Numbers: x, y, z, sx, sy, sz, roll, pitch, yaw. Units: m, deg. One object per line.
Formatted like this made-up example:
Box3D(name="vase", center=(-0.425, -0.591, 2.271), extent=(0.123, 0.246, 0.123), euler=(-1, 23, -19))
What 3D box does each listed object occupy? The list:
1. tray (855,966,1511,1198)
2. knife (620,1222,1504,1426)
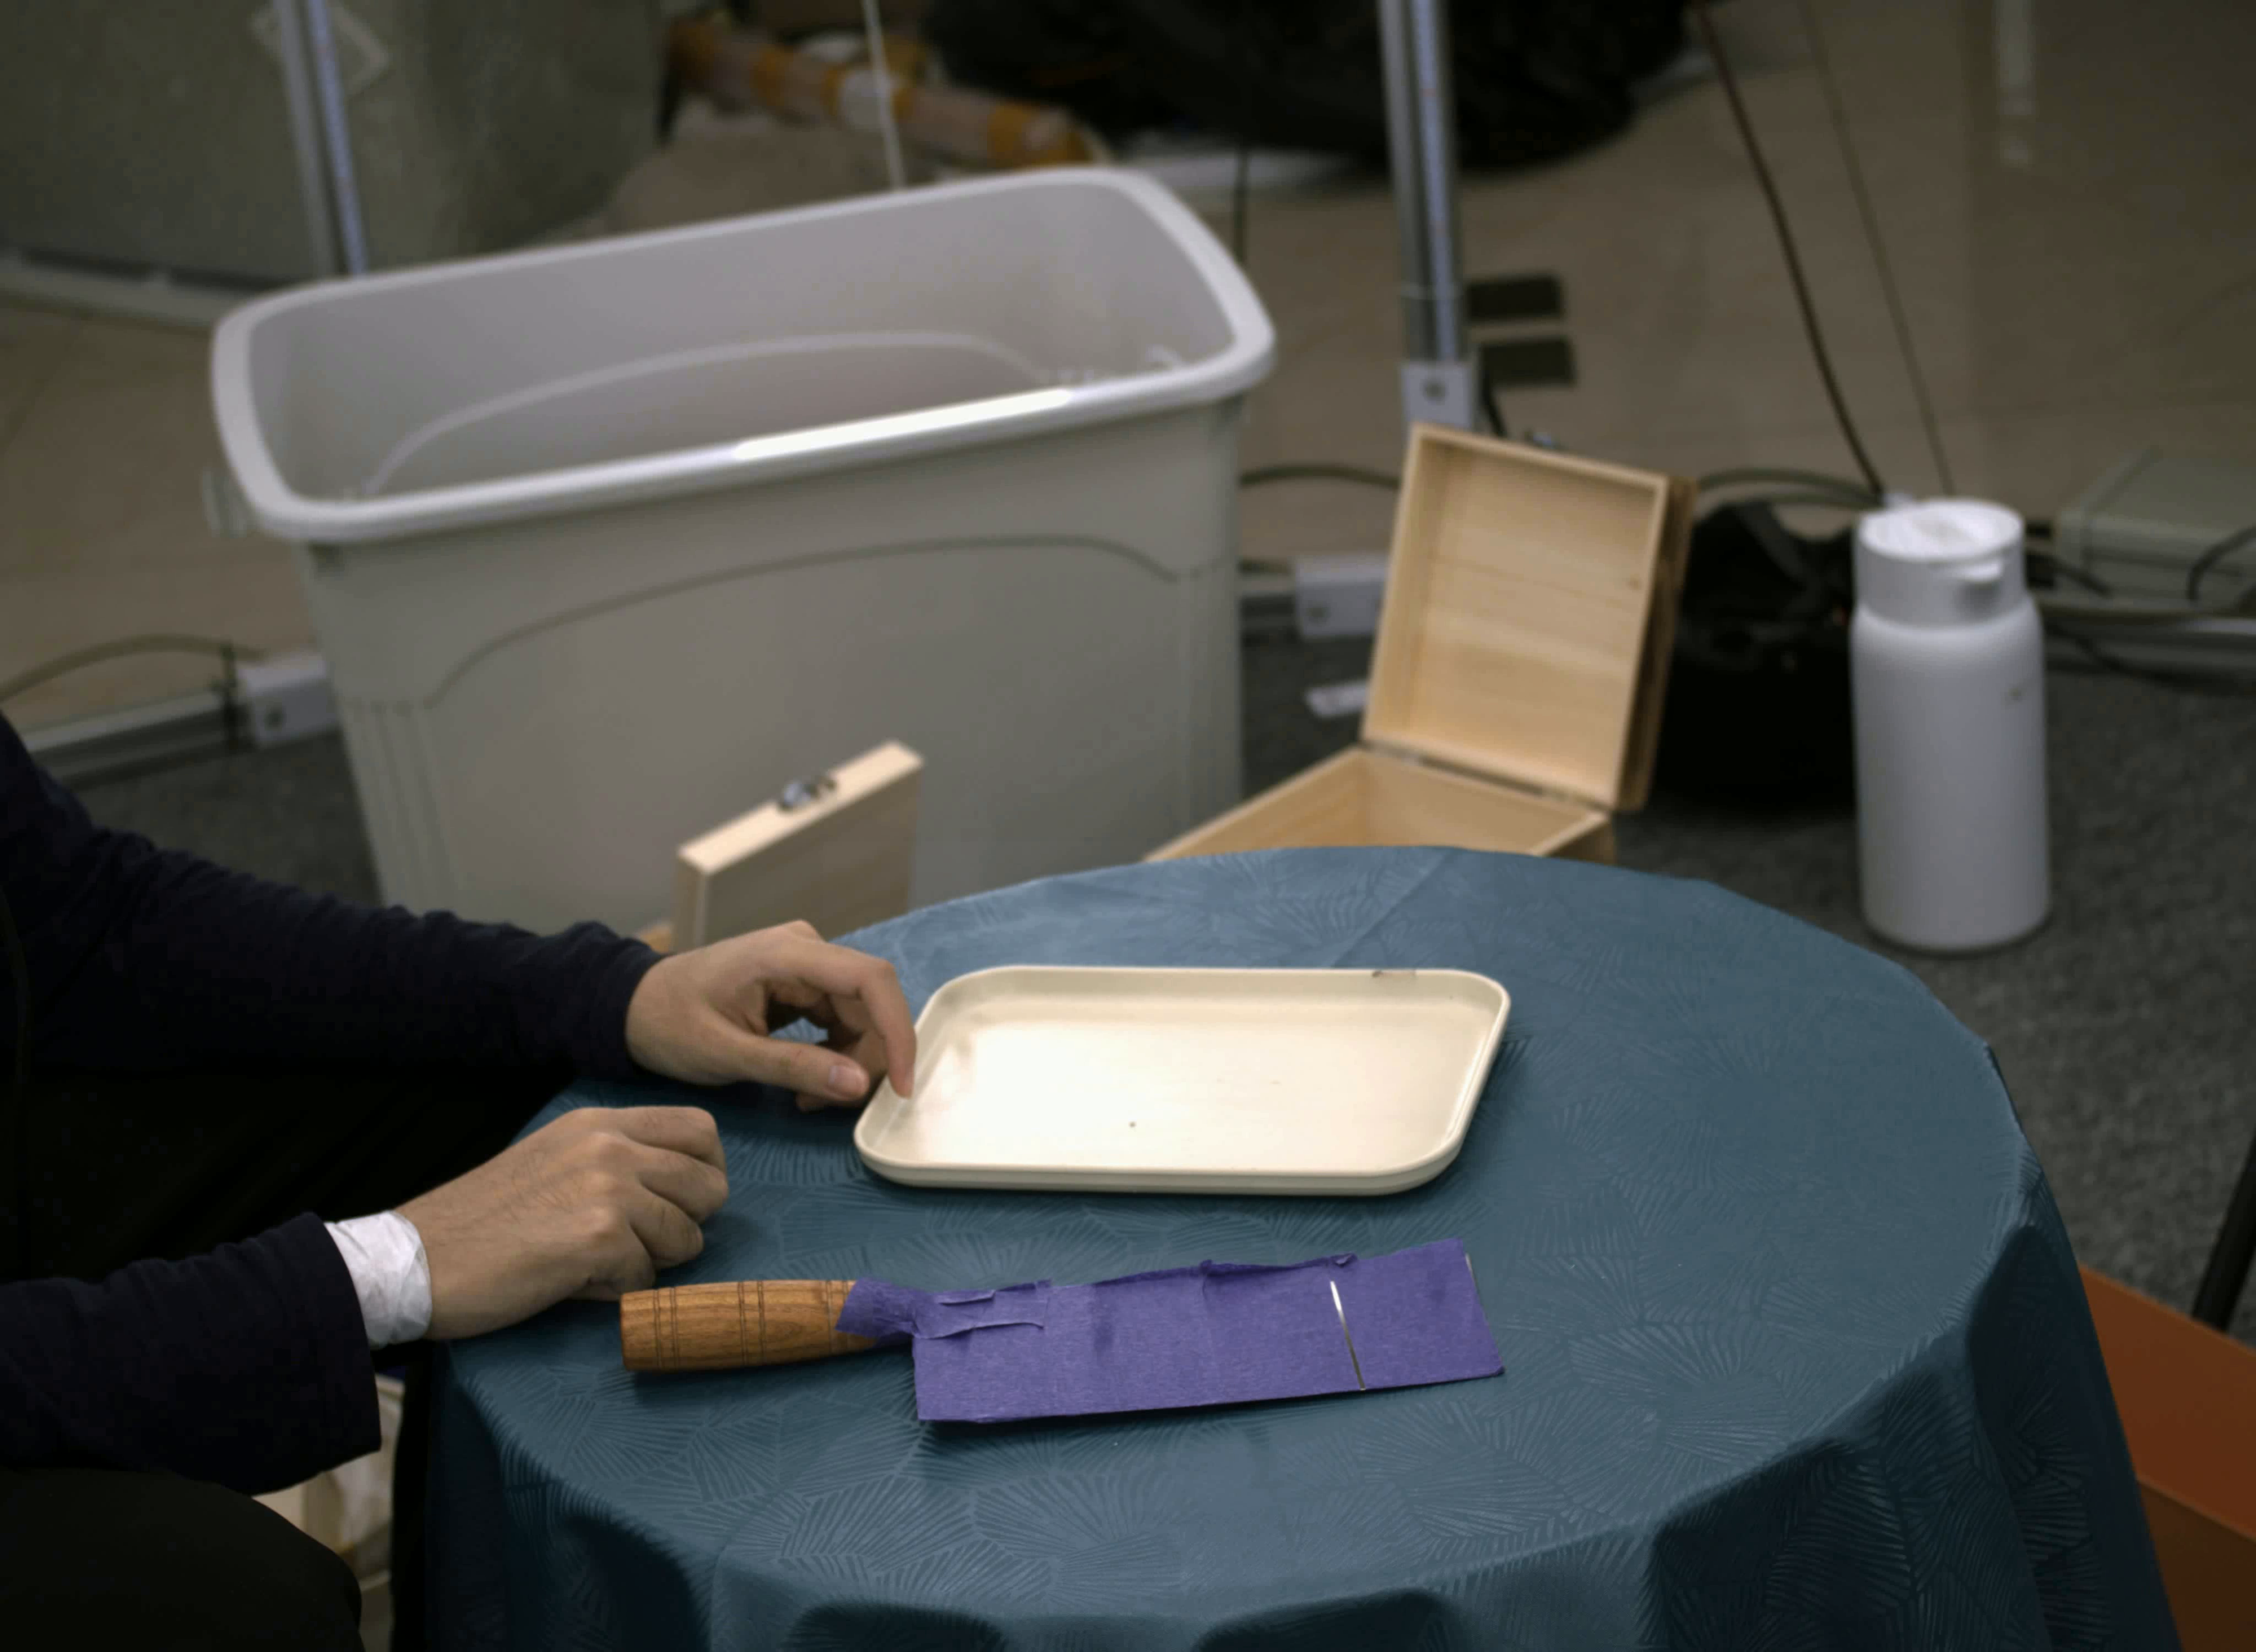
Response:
Box3D(name="tray", center=(0.023, 0.100, 2.209), extent=(0.239, 0.018, 0.169), euler=(0, 26, 15))
Box3D(name="knife", center=(-0.025, 0.182, 2.033), extent=(0.315, 0.033, 0.102), euler=(-7, 24, -2))
